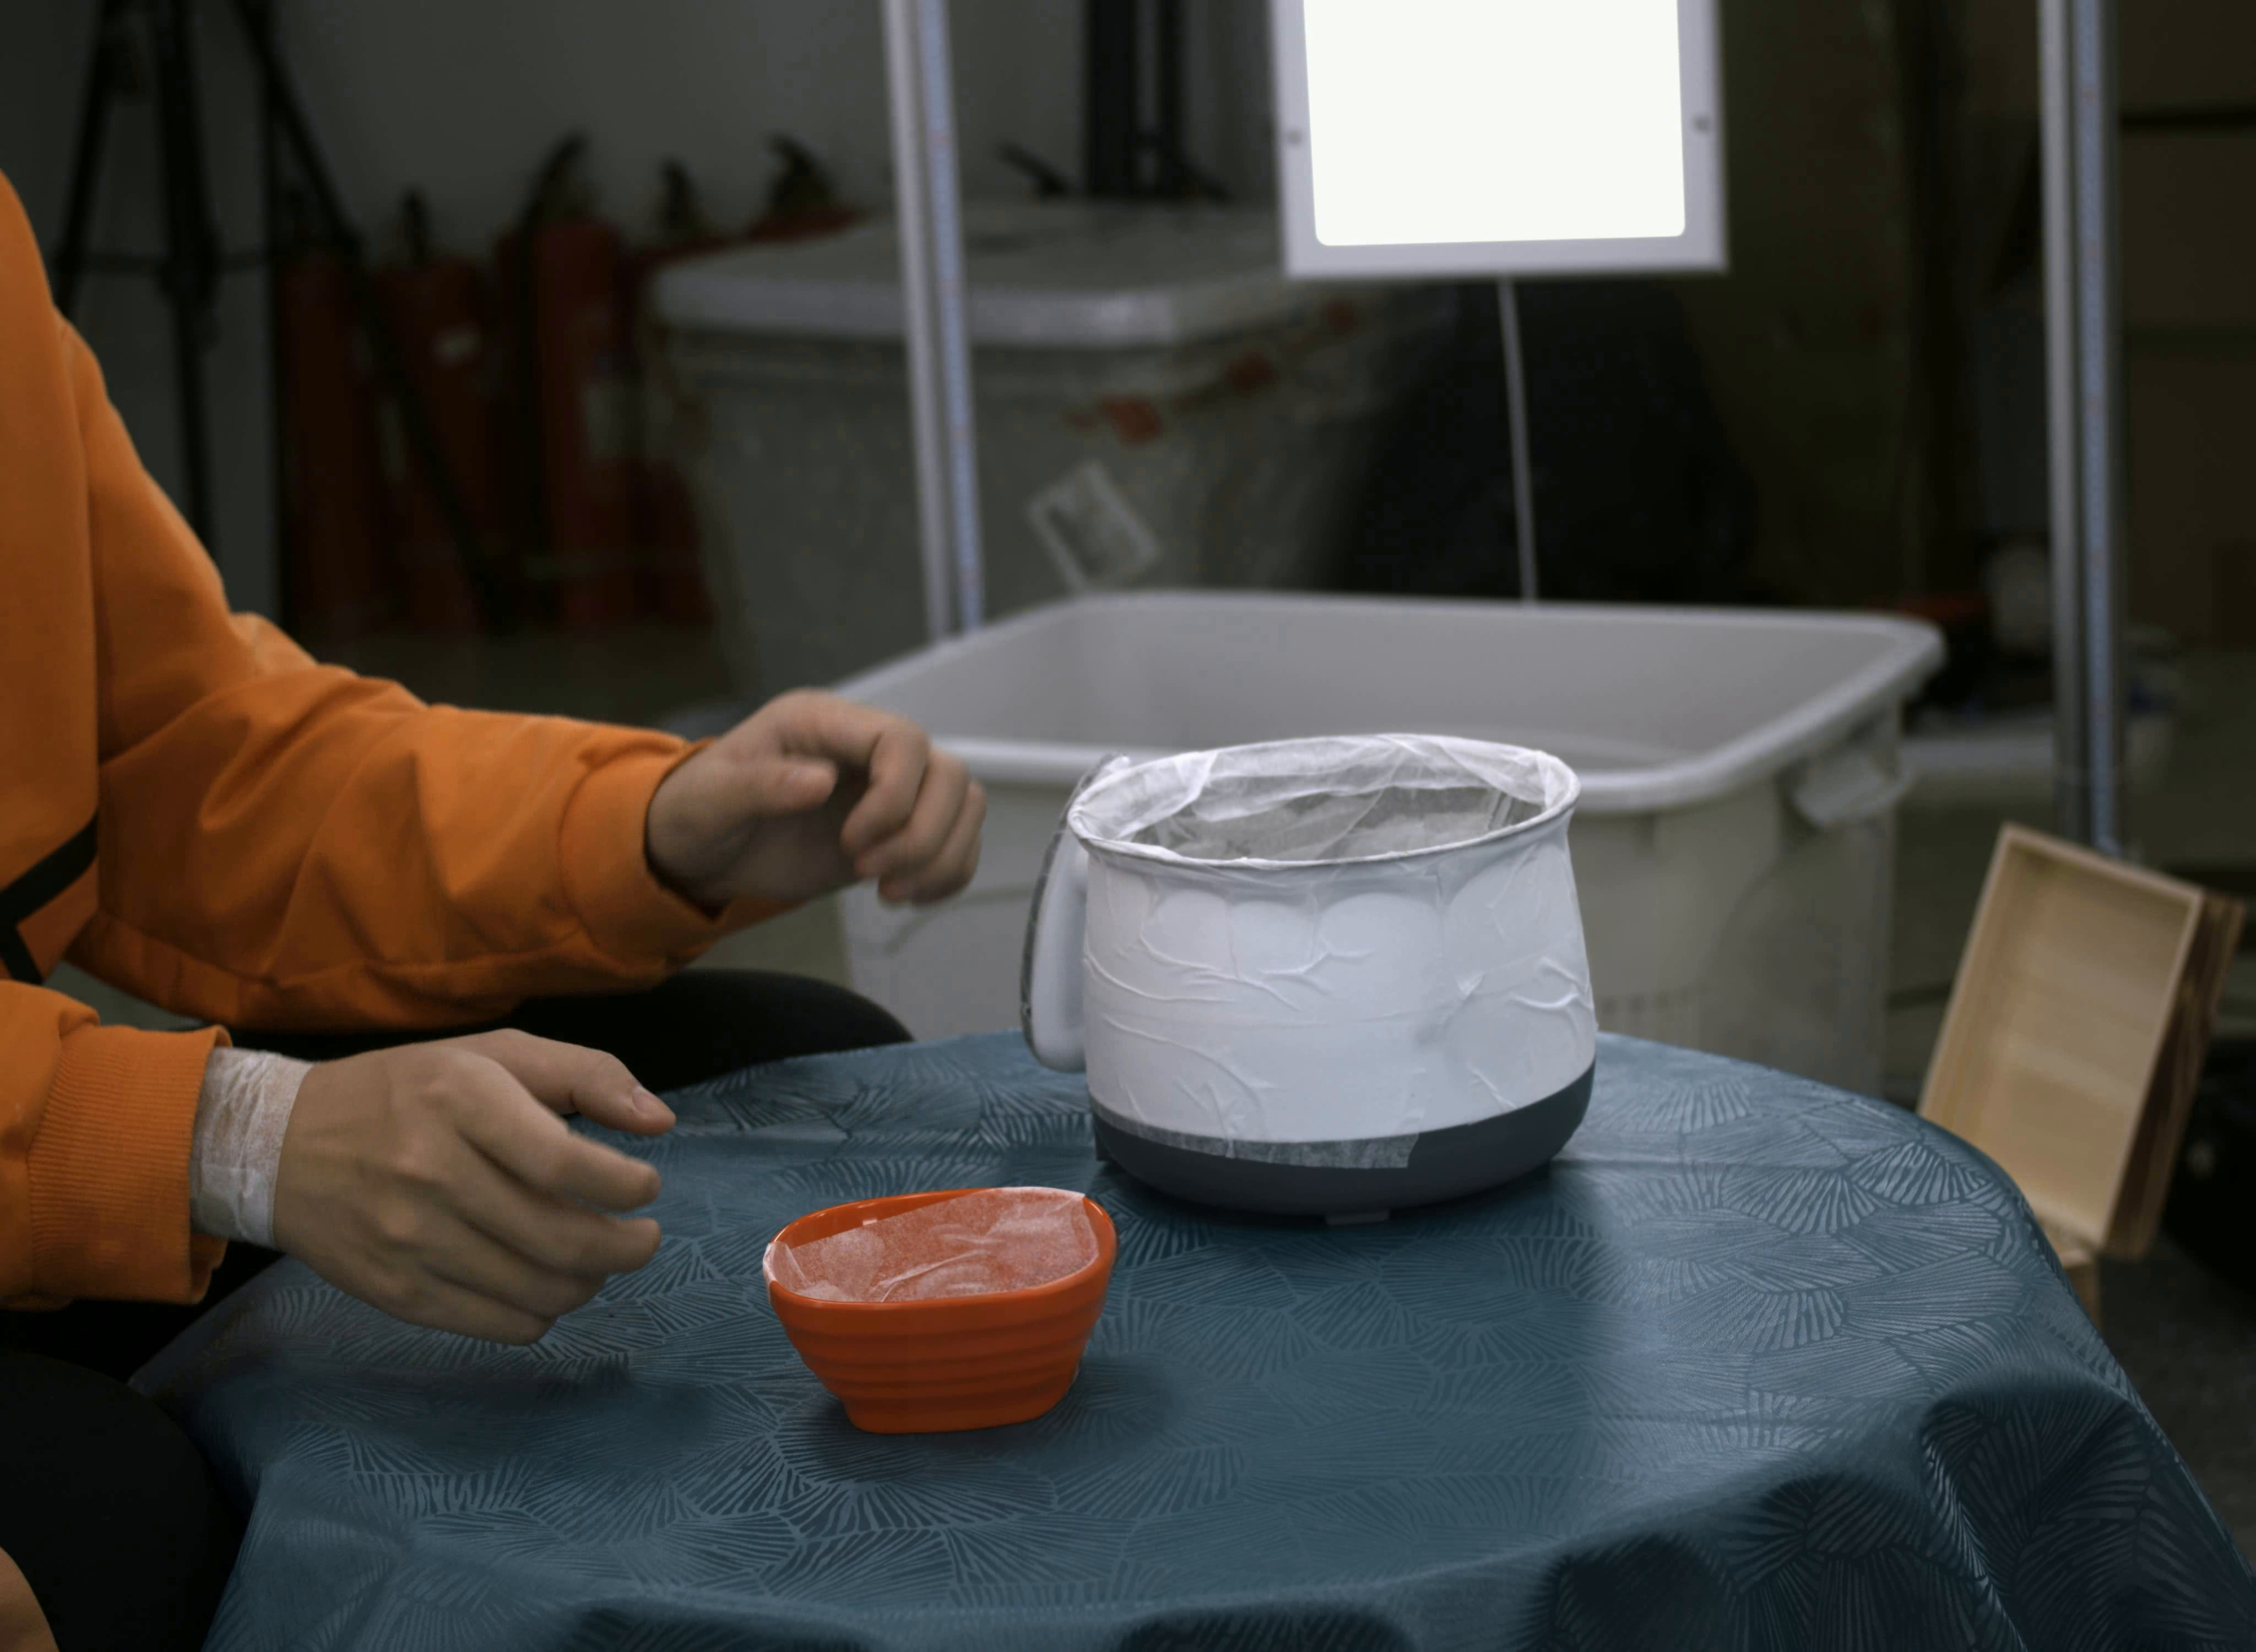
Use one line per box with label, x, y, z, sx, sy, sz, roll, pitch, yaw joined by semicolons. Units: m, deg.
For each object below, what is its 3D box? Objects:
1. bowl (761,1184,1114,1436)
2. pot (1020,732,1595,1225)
bowl;-0.057;0.153;1.706;0.118;0.051;0.119;-5;15;0
pot;0.051;0.047;1.911;0.239;0.137;0.174;9;19;43
